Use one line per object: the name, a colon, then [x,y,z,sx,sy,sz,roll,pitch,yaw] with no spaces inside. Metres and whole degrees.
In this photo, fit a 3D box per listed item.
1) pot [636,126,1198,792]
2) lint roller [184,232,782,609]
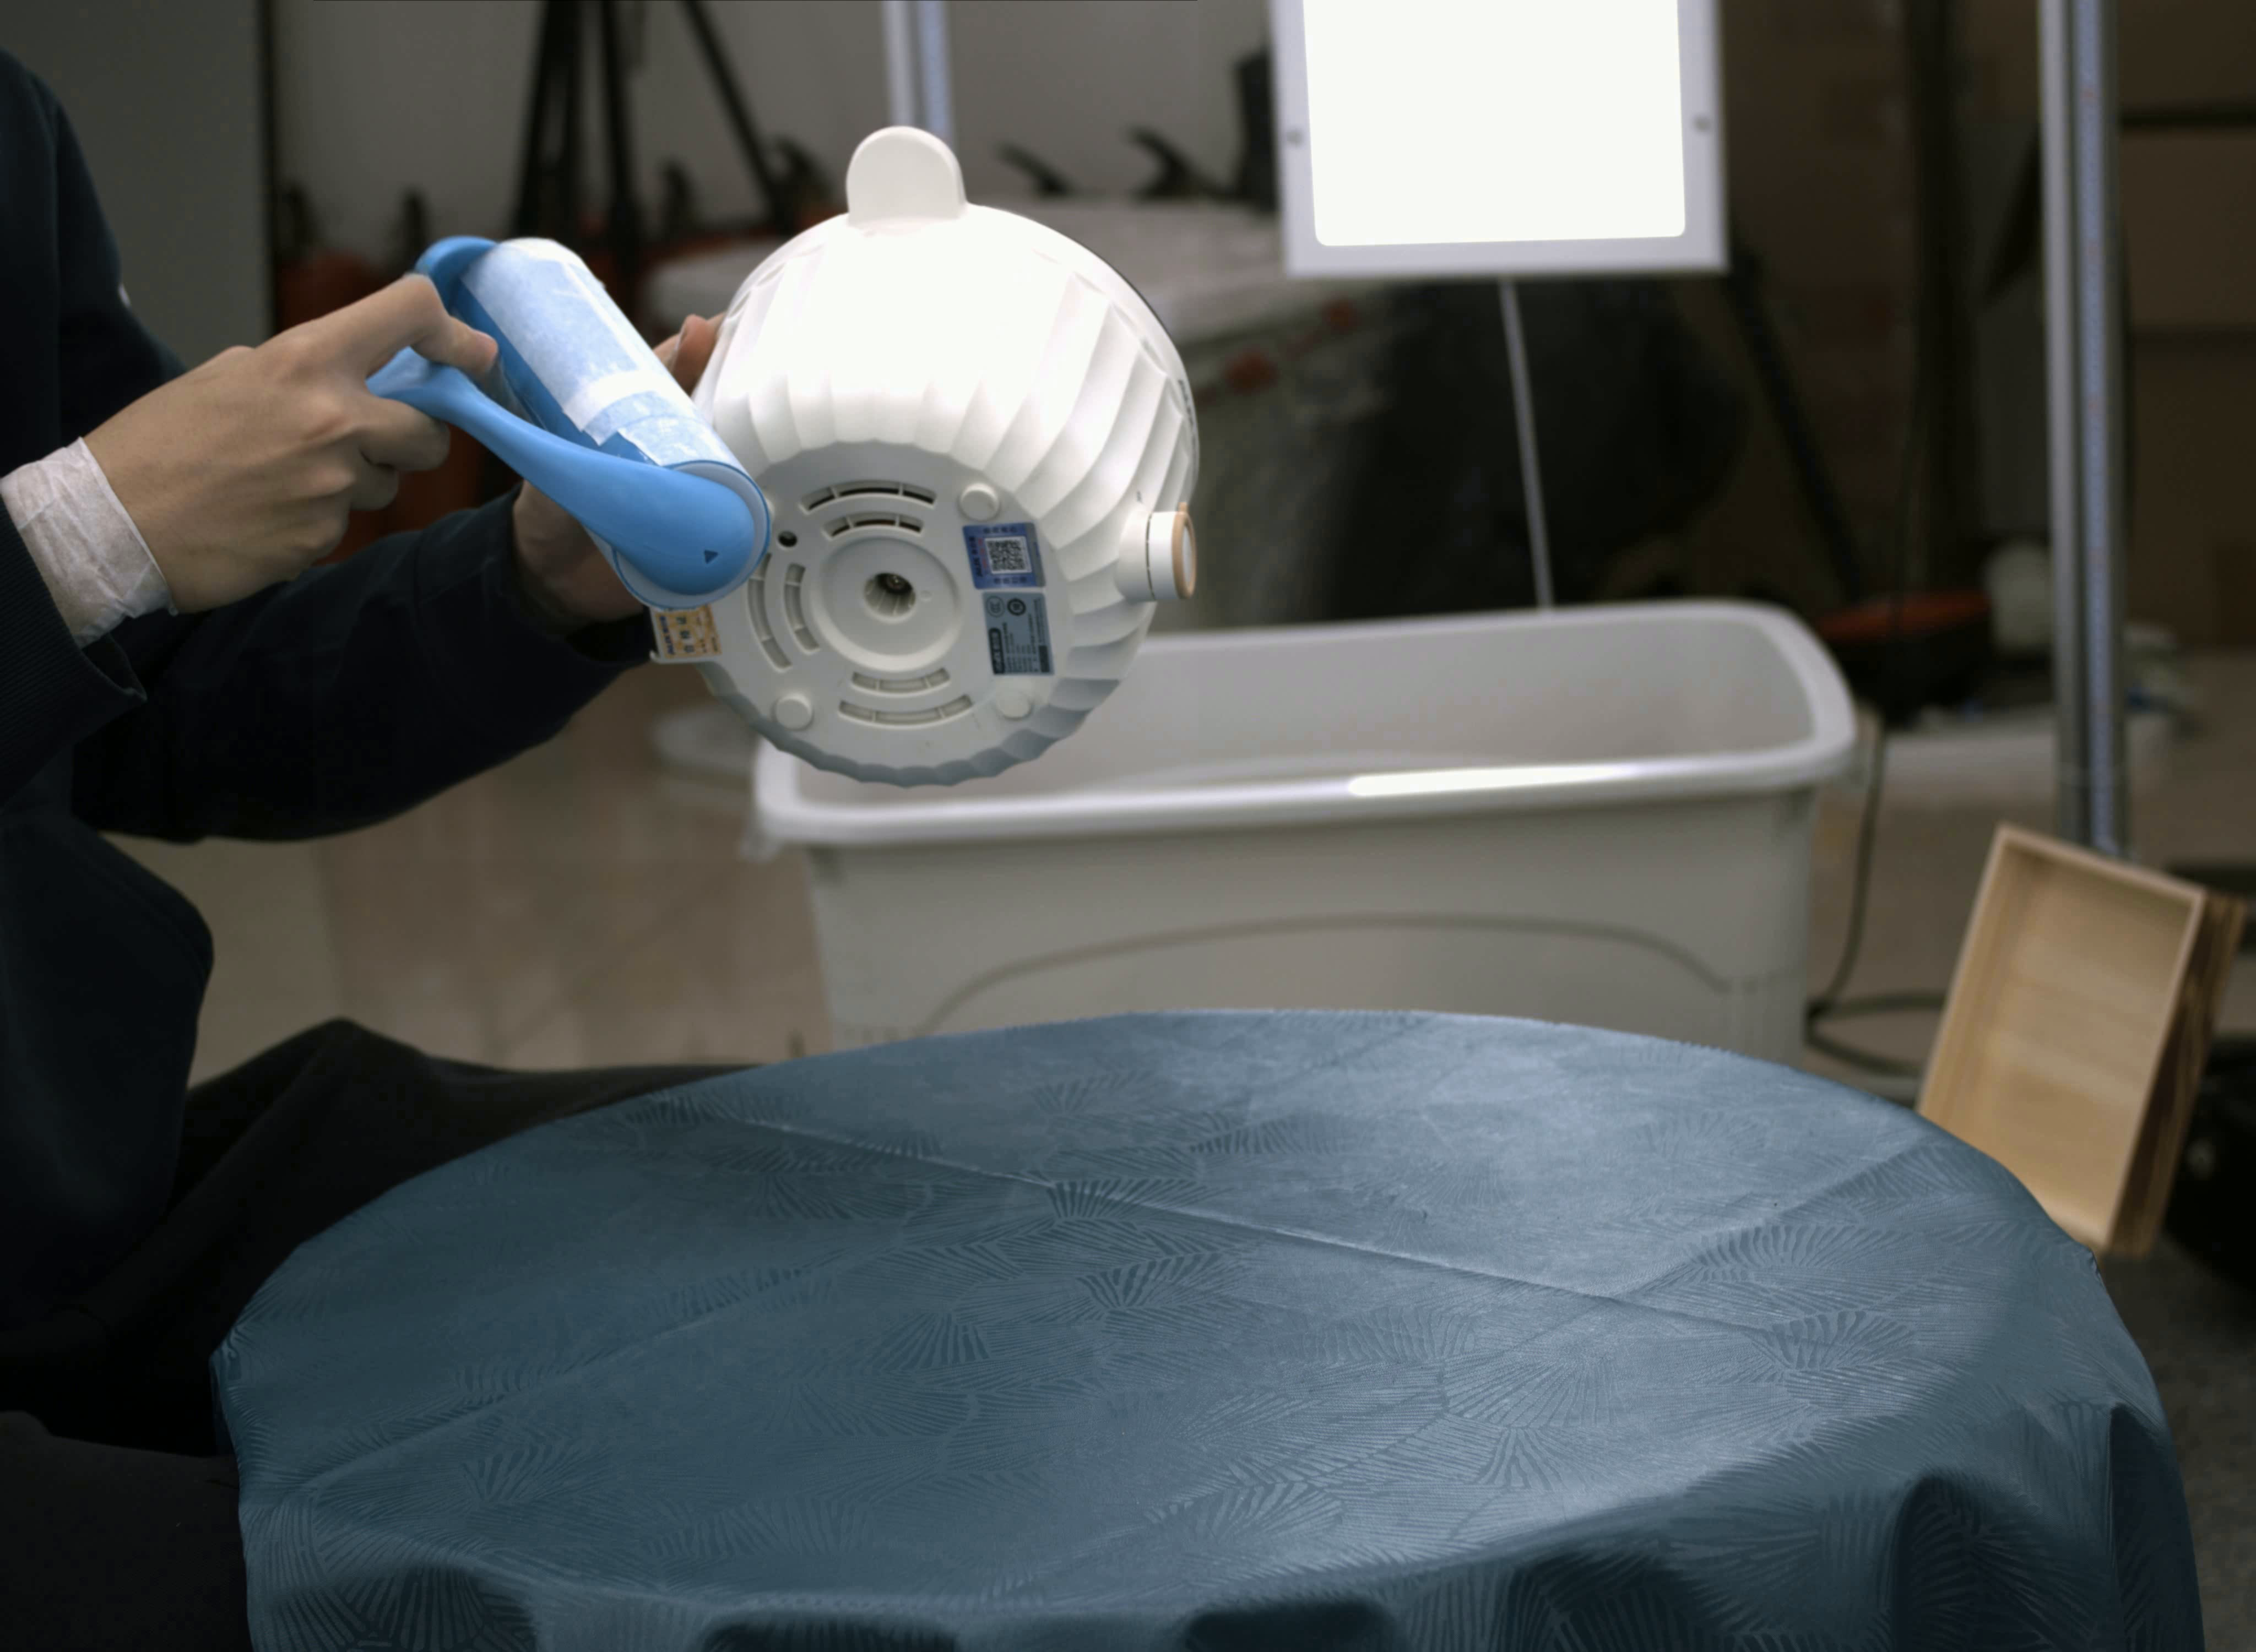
pot: [-0.067,-0.107,1.923,0.191,0.241,0.141,-3,32,9]
lint roller: [-0.228,-0.123,1.823,0.177,0.068,0.232,-18,35,-19]
